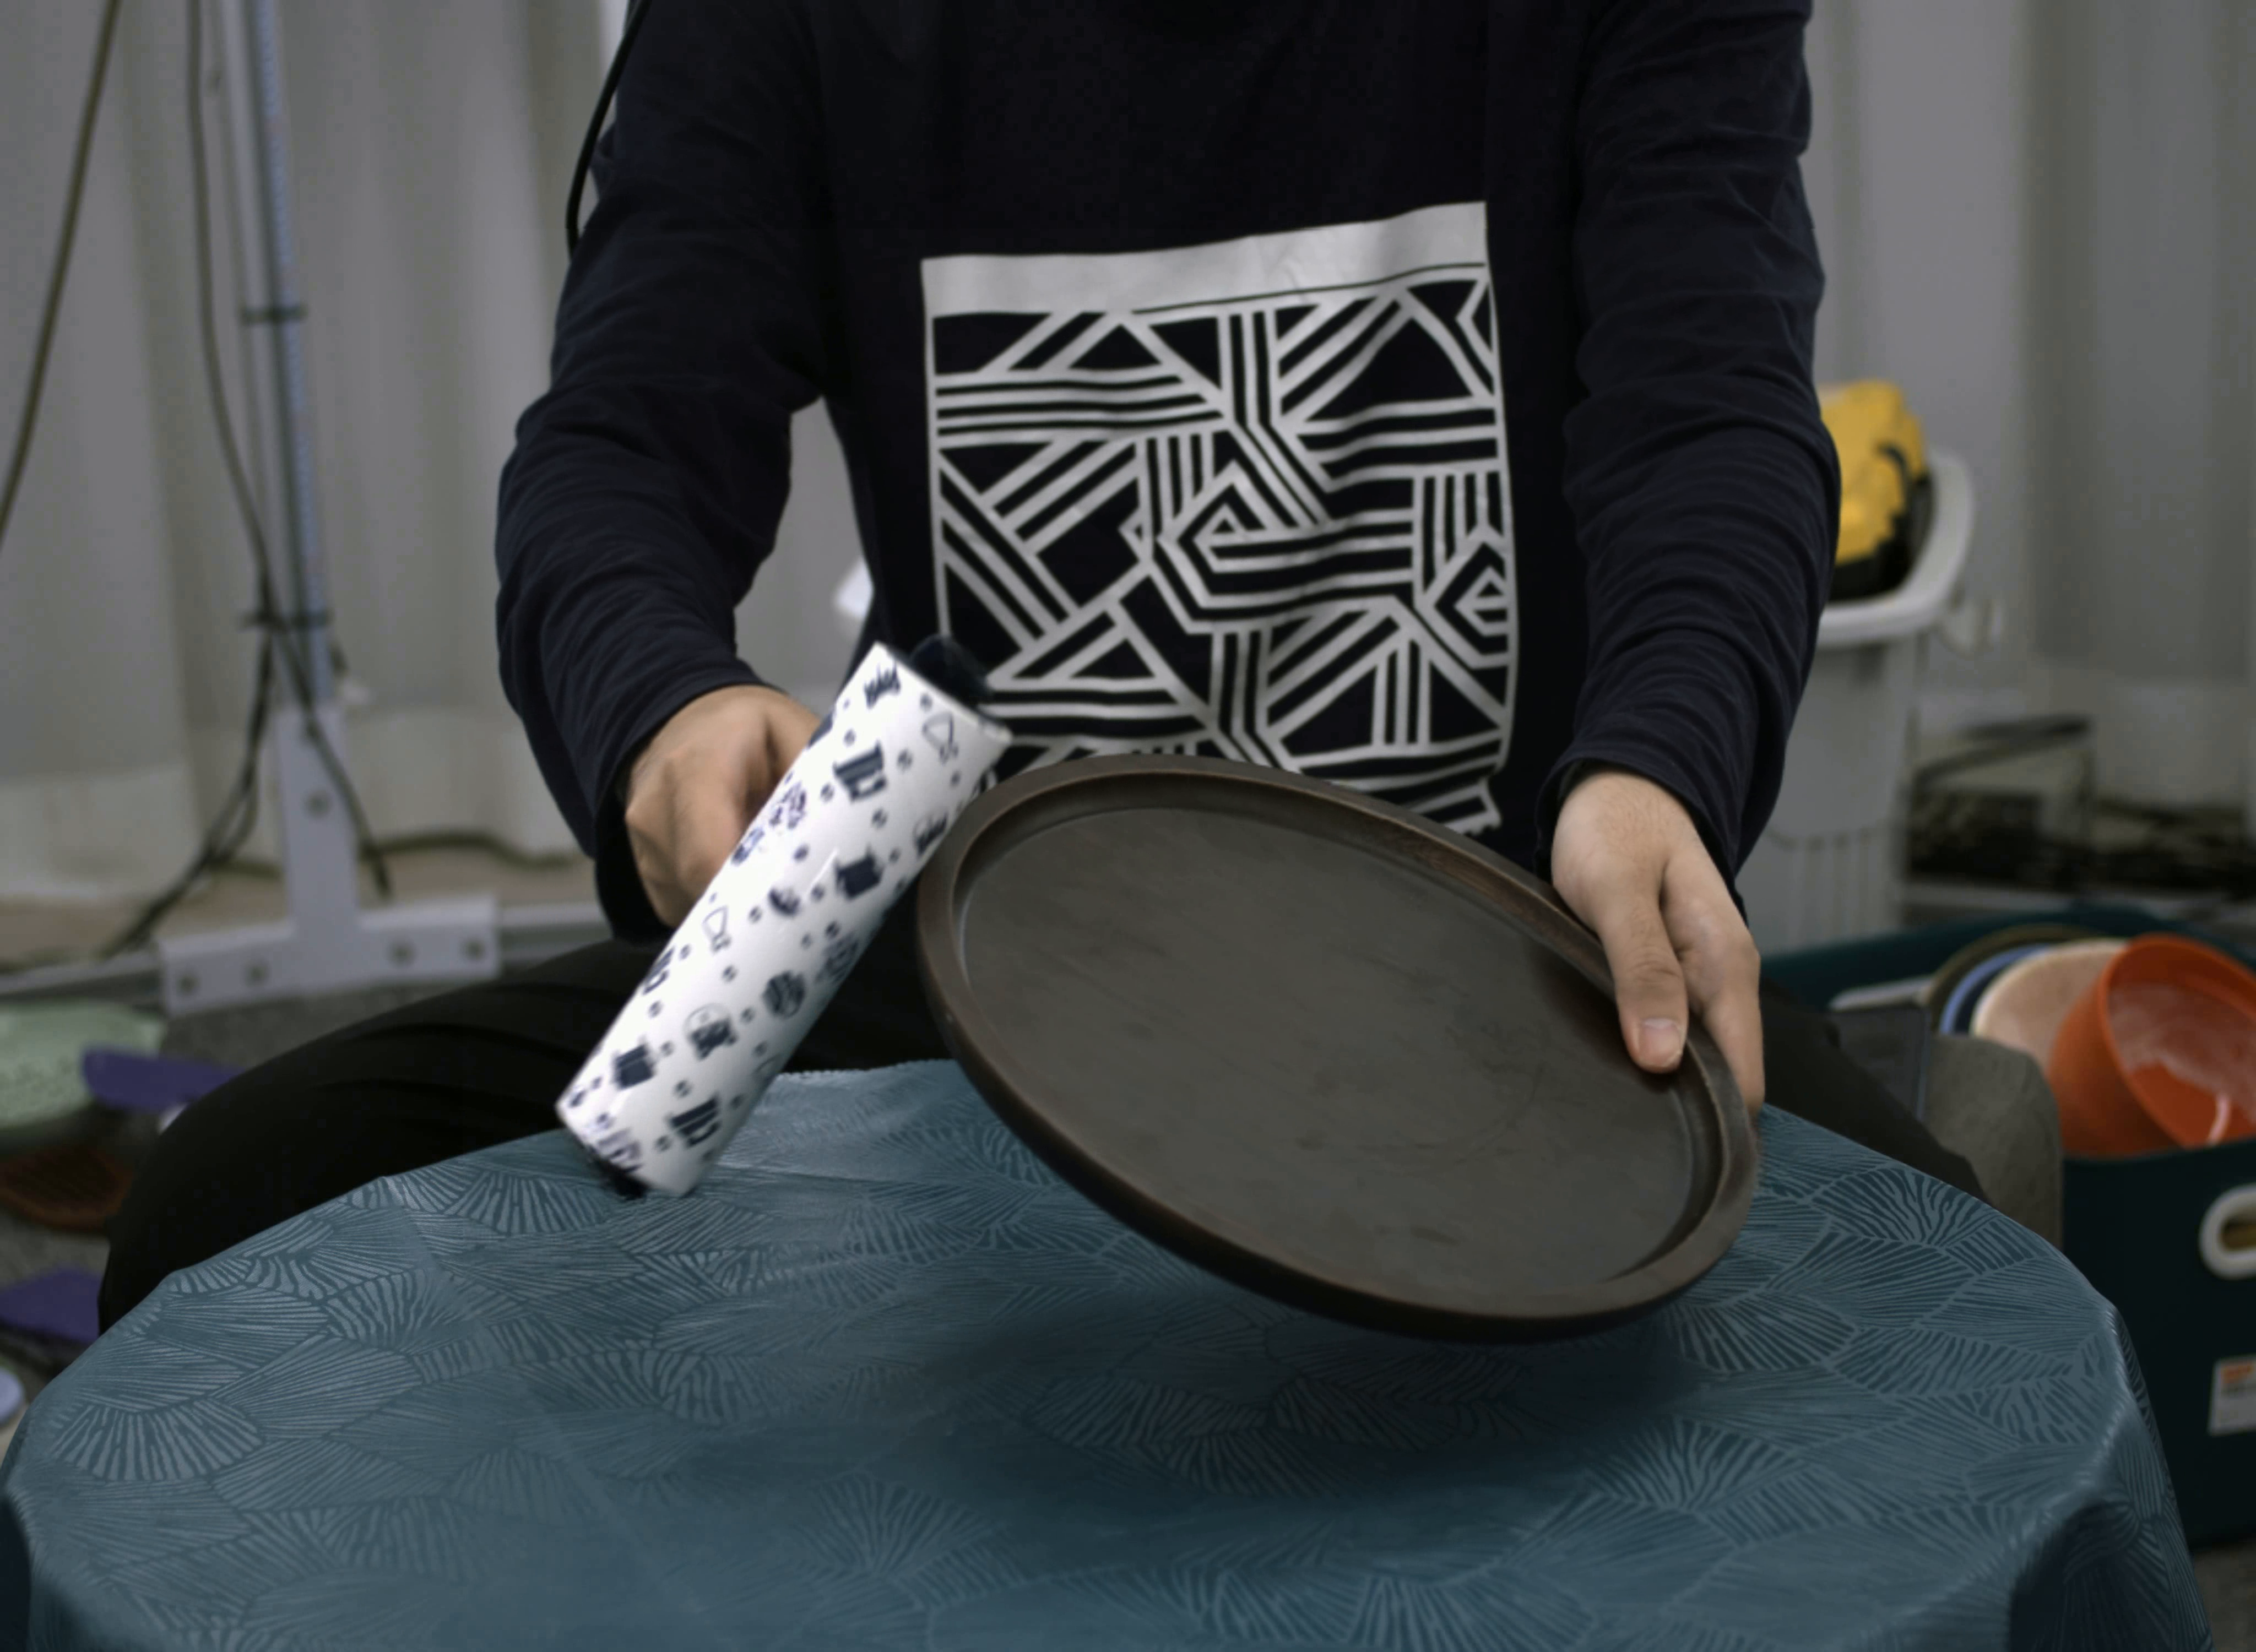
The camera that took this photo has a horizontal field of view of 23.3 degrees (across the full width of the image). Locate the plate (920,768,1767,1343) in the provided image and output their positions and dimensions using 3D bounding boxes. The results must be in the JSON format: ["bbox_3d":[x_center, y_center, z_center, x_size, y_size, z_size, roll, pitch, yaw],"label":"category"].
[{"bbox_3d":[0.059,0.062,1.544,0.253,0.029,0.258,17,29,-10],"label":"plate"}]

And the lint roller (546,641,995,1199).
[{"bbox_3d":[-0.106,0.016,1.635,0.050,0.176,0.248,35,3,-7],"label":"lint roller"}]
